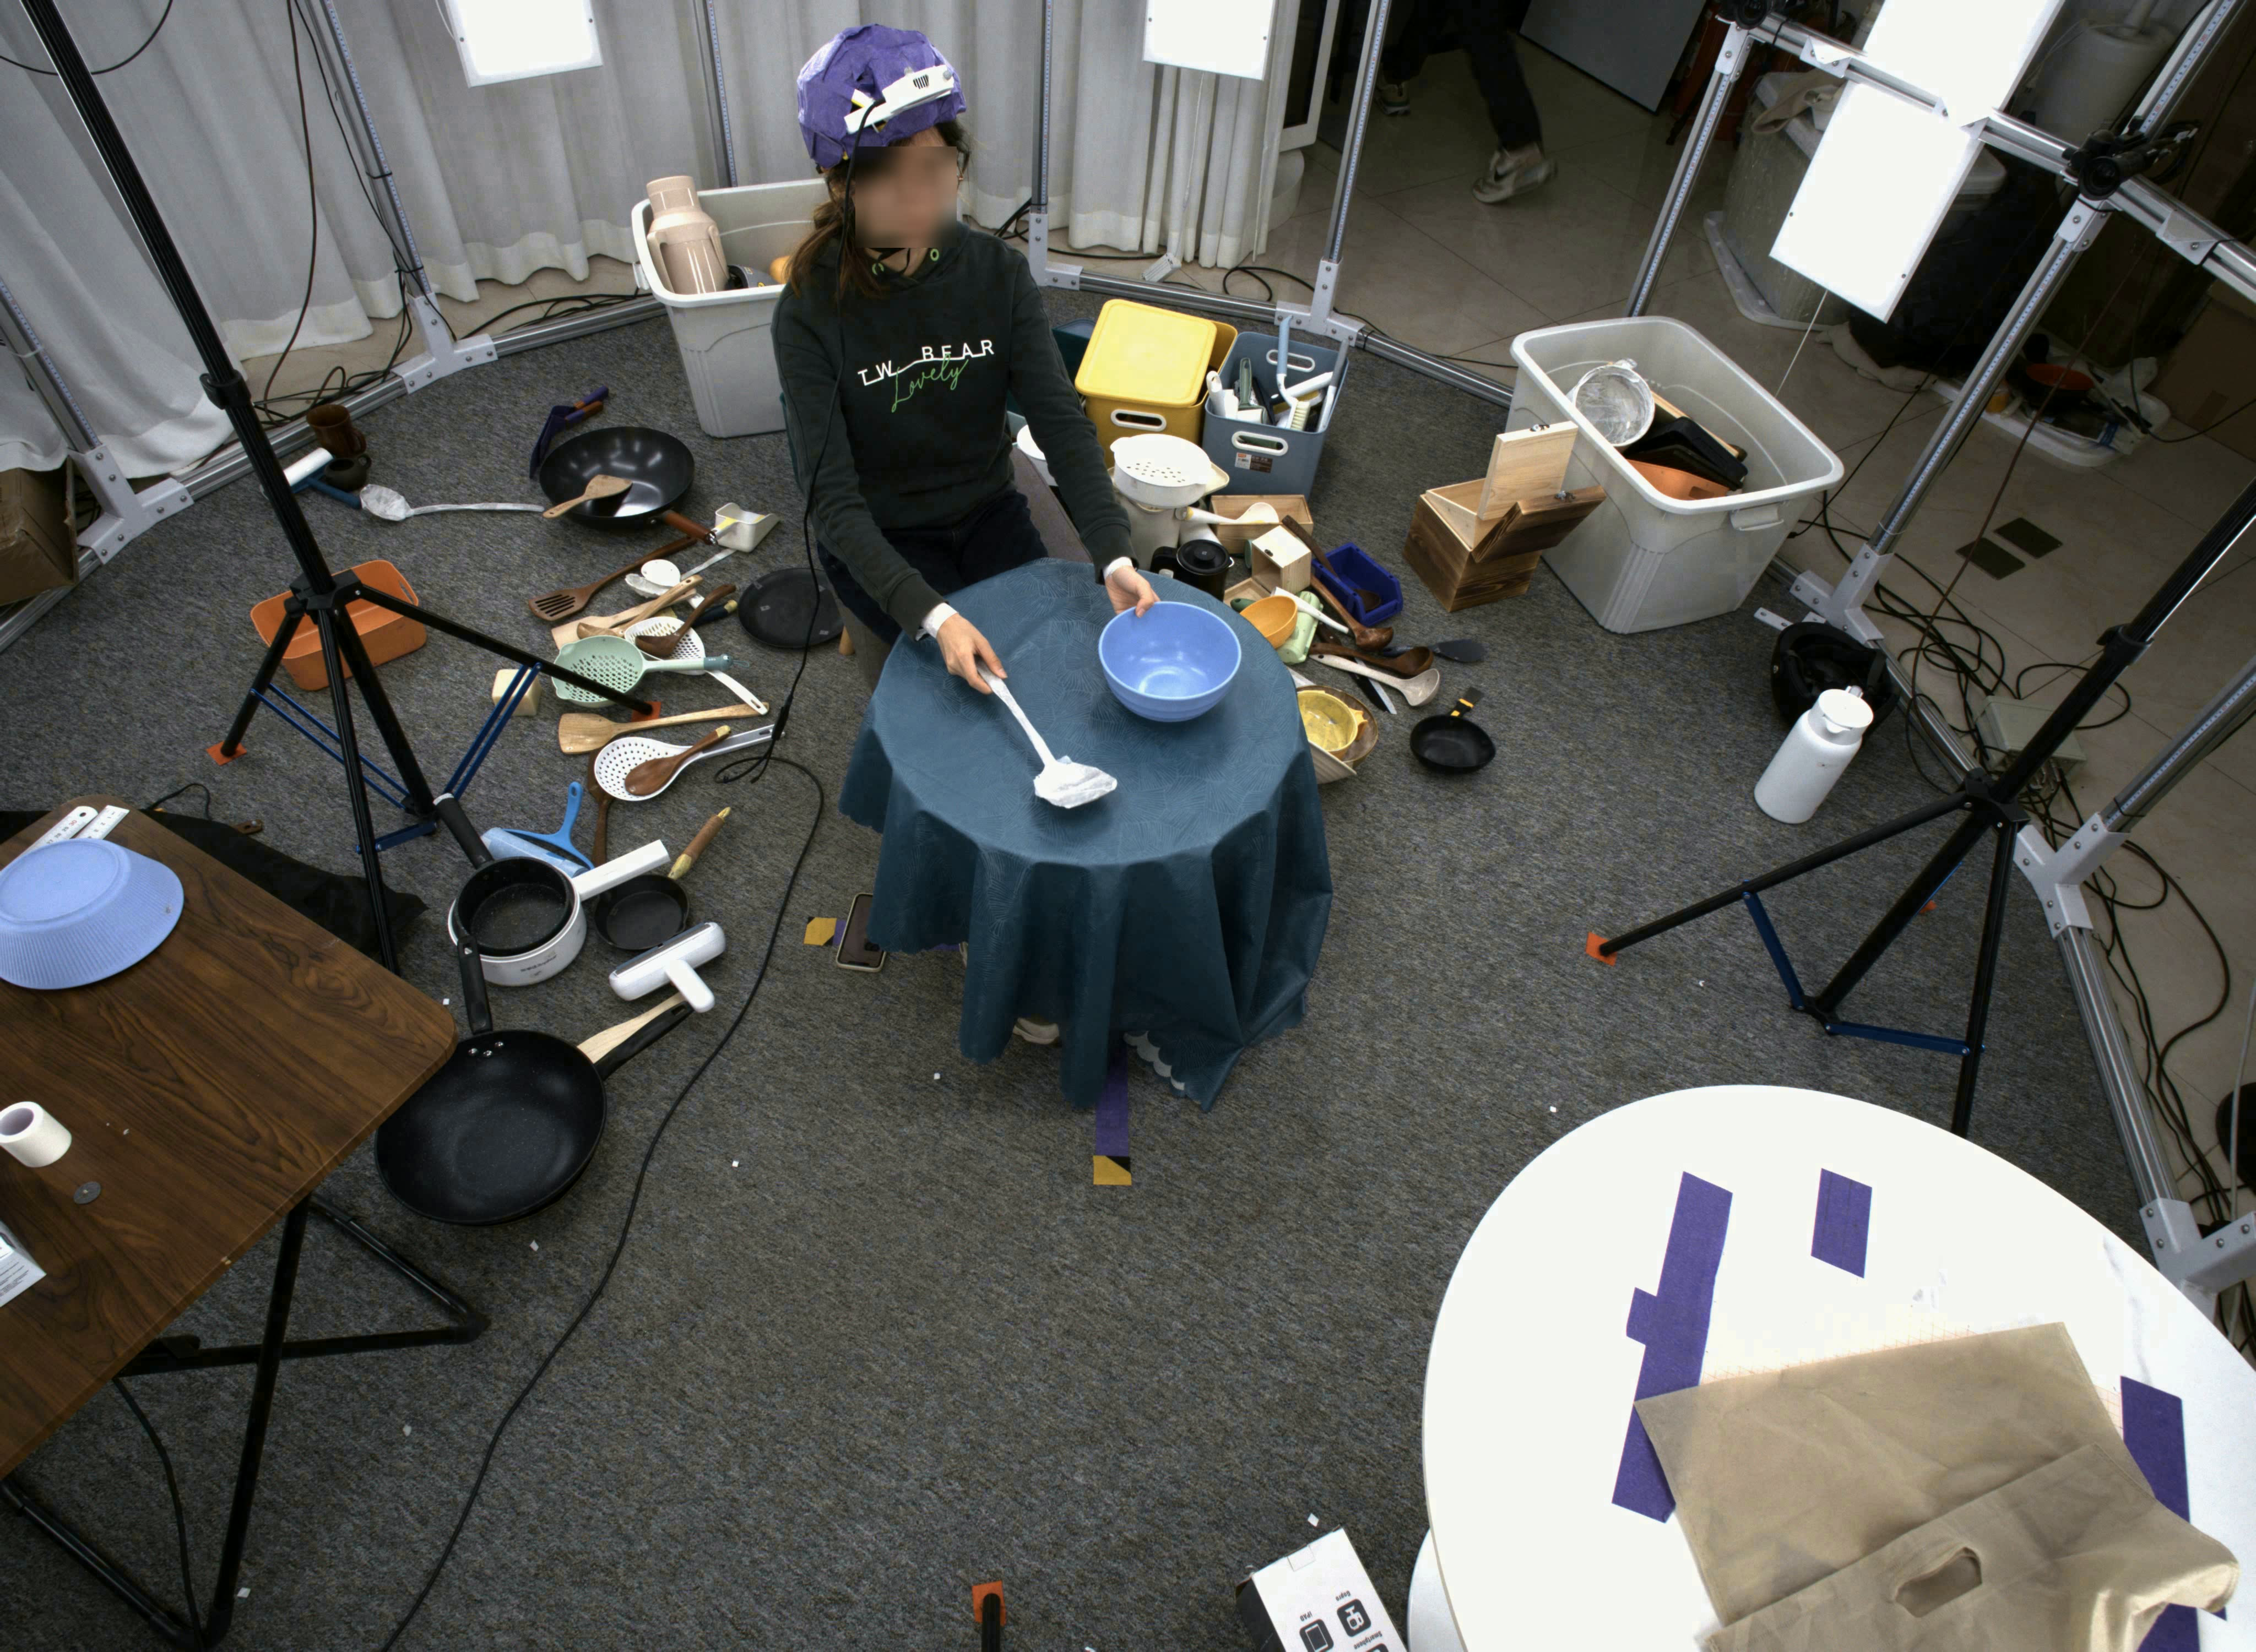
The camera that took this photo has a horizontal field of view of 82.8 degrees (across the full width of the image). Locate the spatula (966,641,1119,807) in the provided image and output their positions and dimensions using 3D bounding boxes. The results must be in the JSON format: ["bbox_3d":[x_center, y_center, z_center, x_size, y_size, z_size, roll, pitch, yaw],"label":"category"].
[{"bbox_3d":[-0.139,-0.150,1.757,0.099,0.044,0.372,-21,56,-23],"label":"spatula"}]

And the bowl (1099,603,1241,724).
[{"bbox_3d":[0.057,-0.214,1.811,0.196,0.093,0.201,1,51,-1],"label":"bowl"}]
